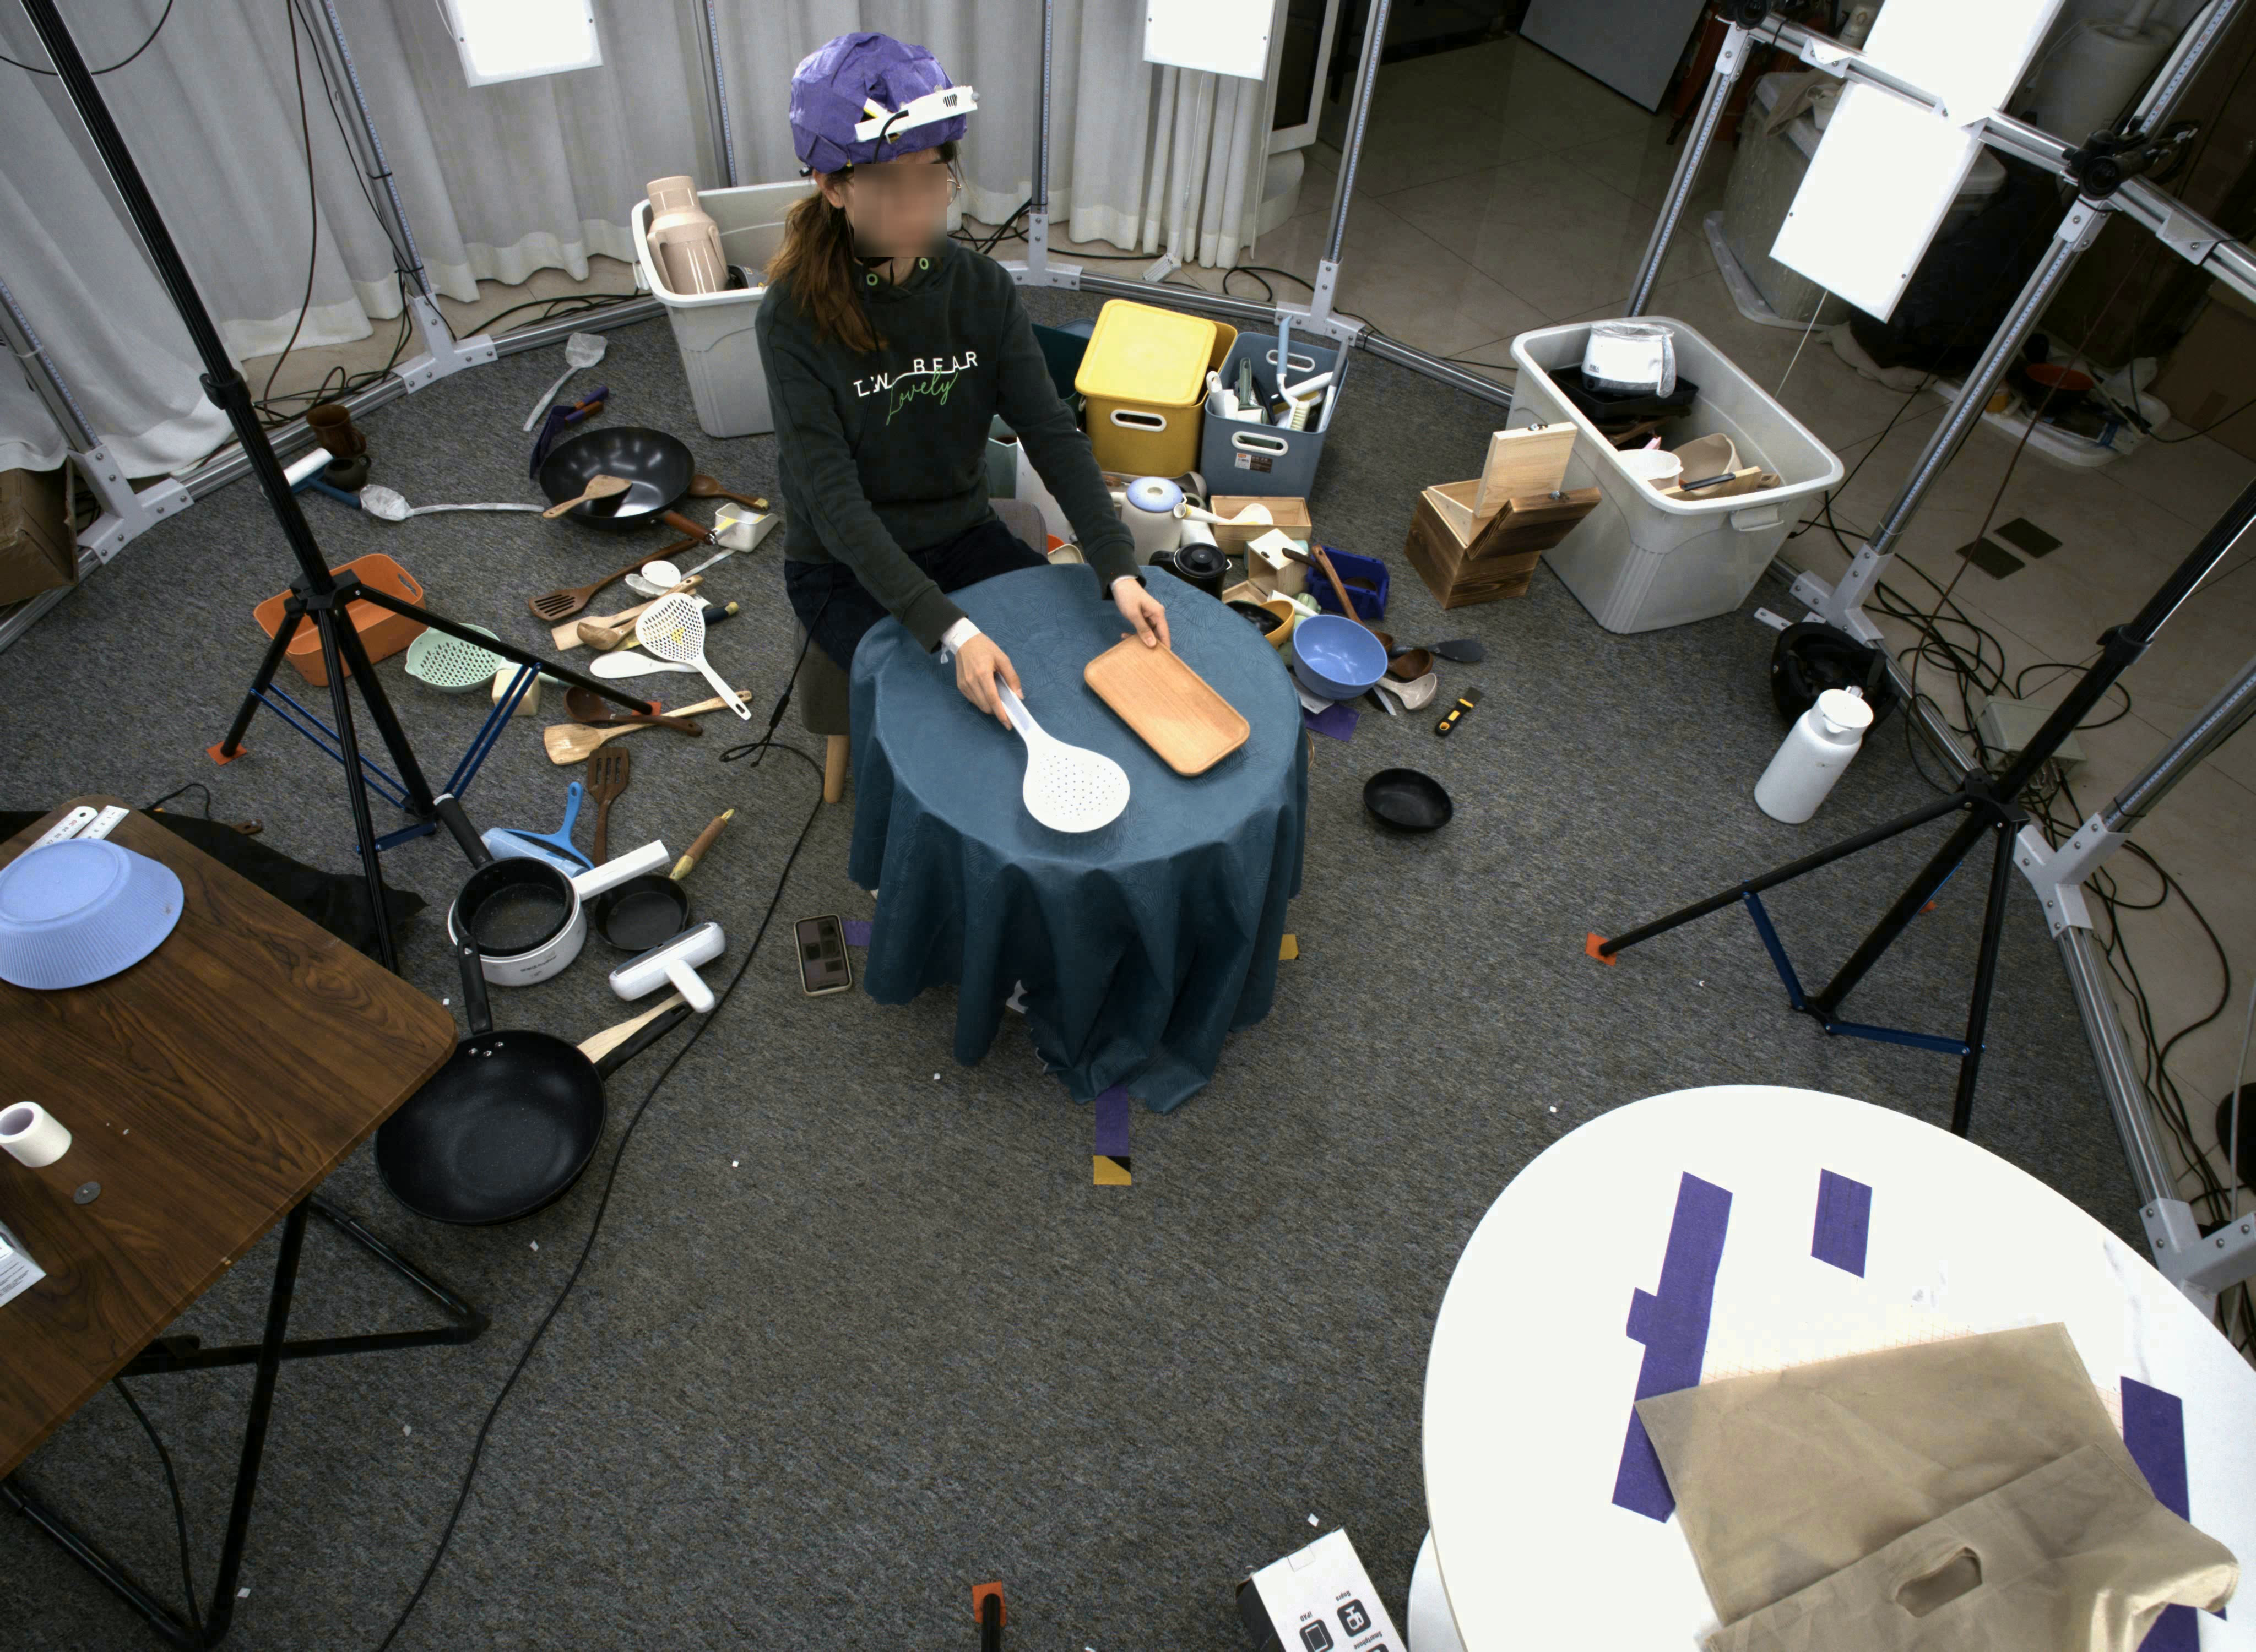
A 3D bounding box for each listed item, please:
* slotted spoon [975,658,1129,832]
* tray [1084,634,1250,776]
[{"bbox_3d":[-0.120,-0.115,1.727,0.136,0.044,0.357,-23,57,-19],"label":"slotted spoon"},{"bbox_3d":[0.053,-0.173,1.809,0.131,0.022,0.255,-32,58,-19],"label":"tray"}]
